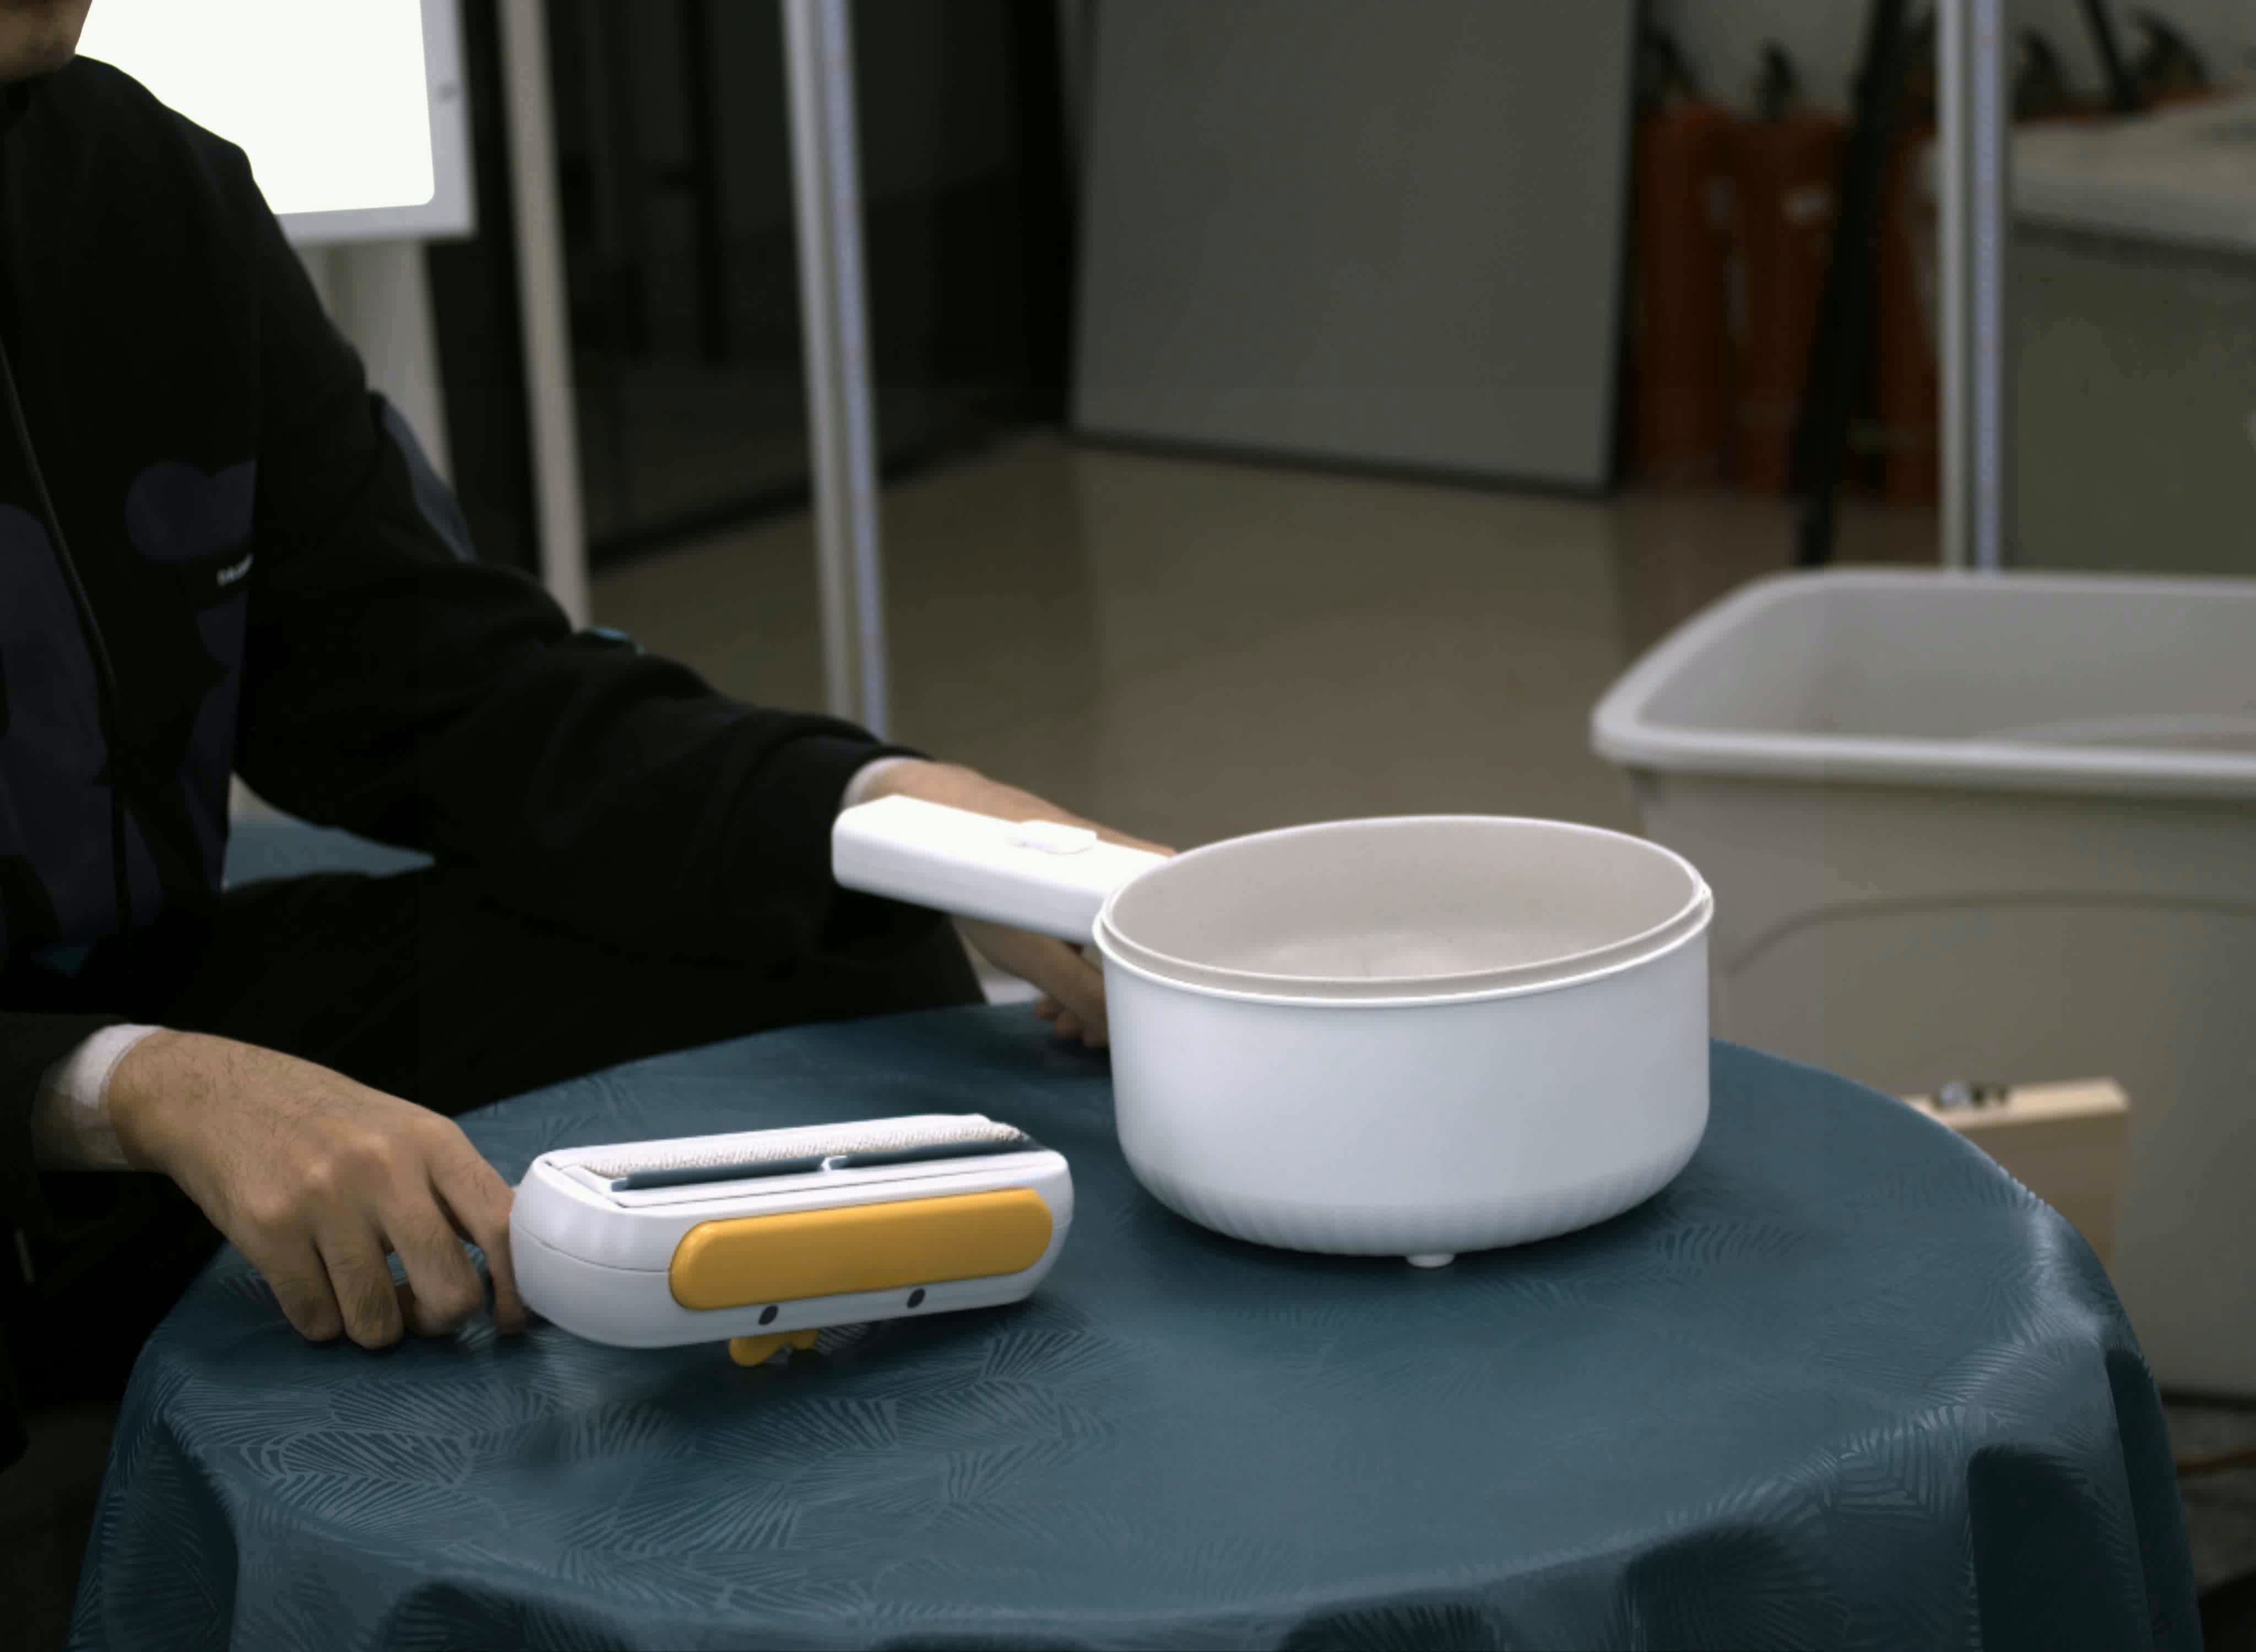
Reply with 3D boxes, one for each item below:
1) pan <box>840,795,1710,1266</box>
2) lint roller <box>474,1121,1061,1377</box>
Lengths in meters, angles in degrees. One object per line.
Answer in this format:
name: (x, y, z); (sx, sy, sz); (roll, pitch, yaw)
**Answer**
pan: (0.036, 0.060, 1.795); (0.197, 0.103, 0.358); (-17, 19, -42)
lint roller: (-0.140, 0.121, 1.671); (0.188, 0.075, 0.194); (-7, 11, -36)
